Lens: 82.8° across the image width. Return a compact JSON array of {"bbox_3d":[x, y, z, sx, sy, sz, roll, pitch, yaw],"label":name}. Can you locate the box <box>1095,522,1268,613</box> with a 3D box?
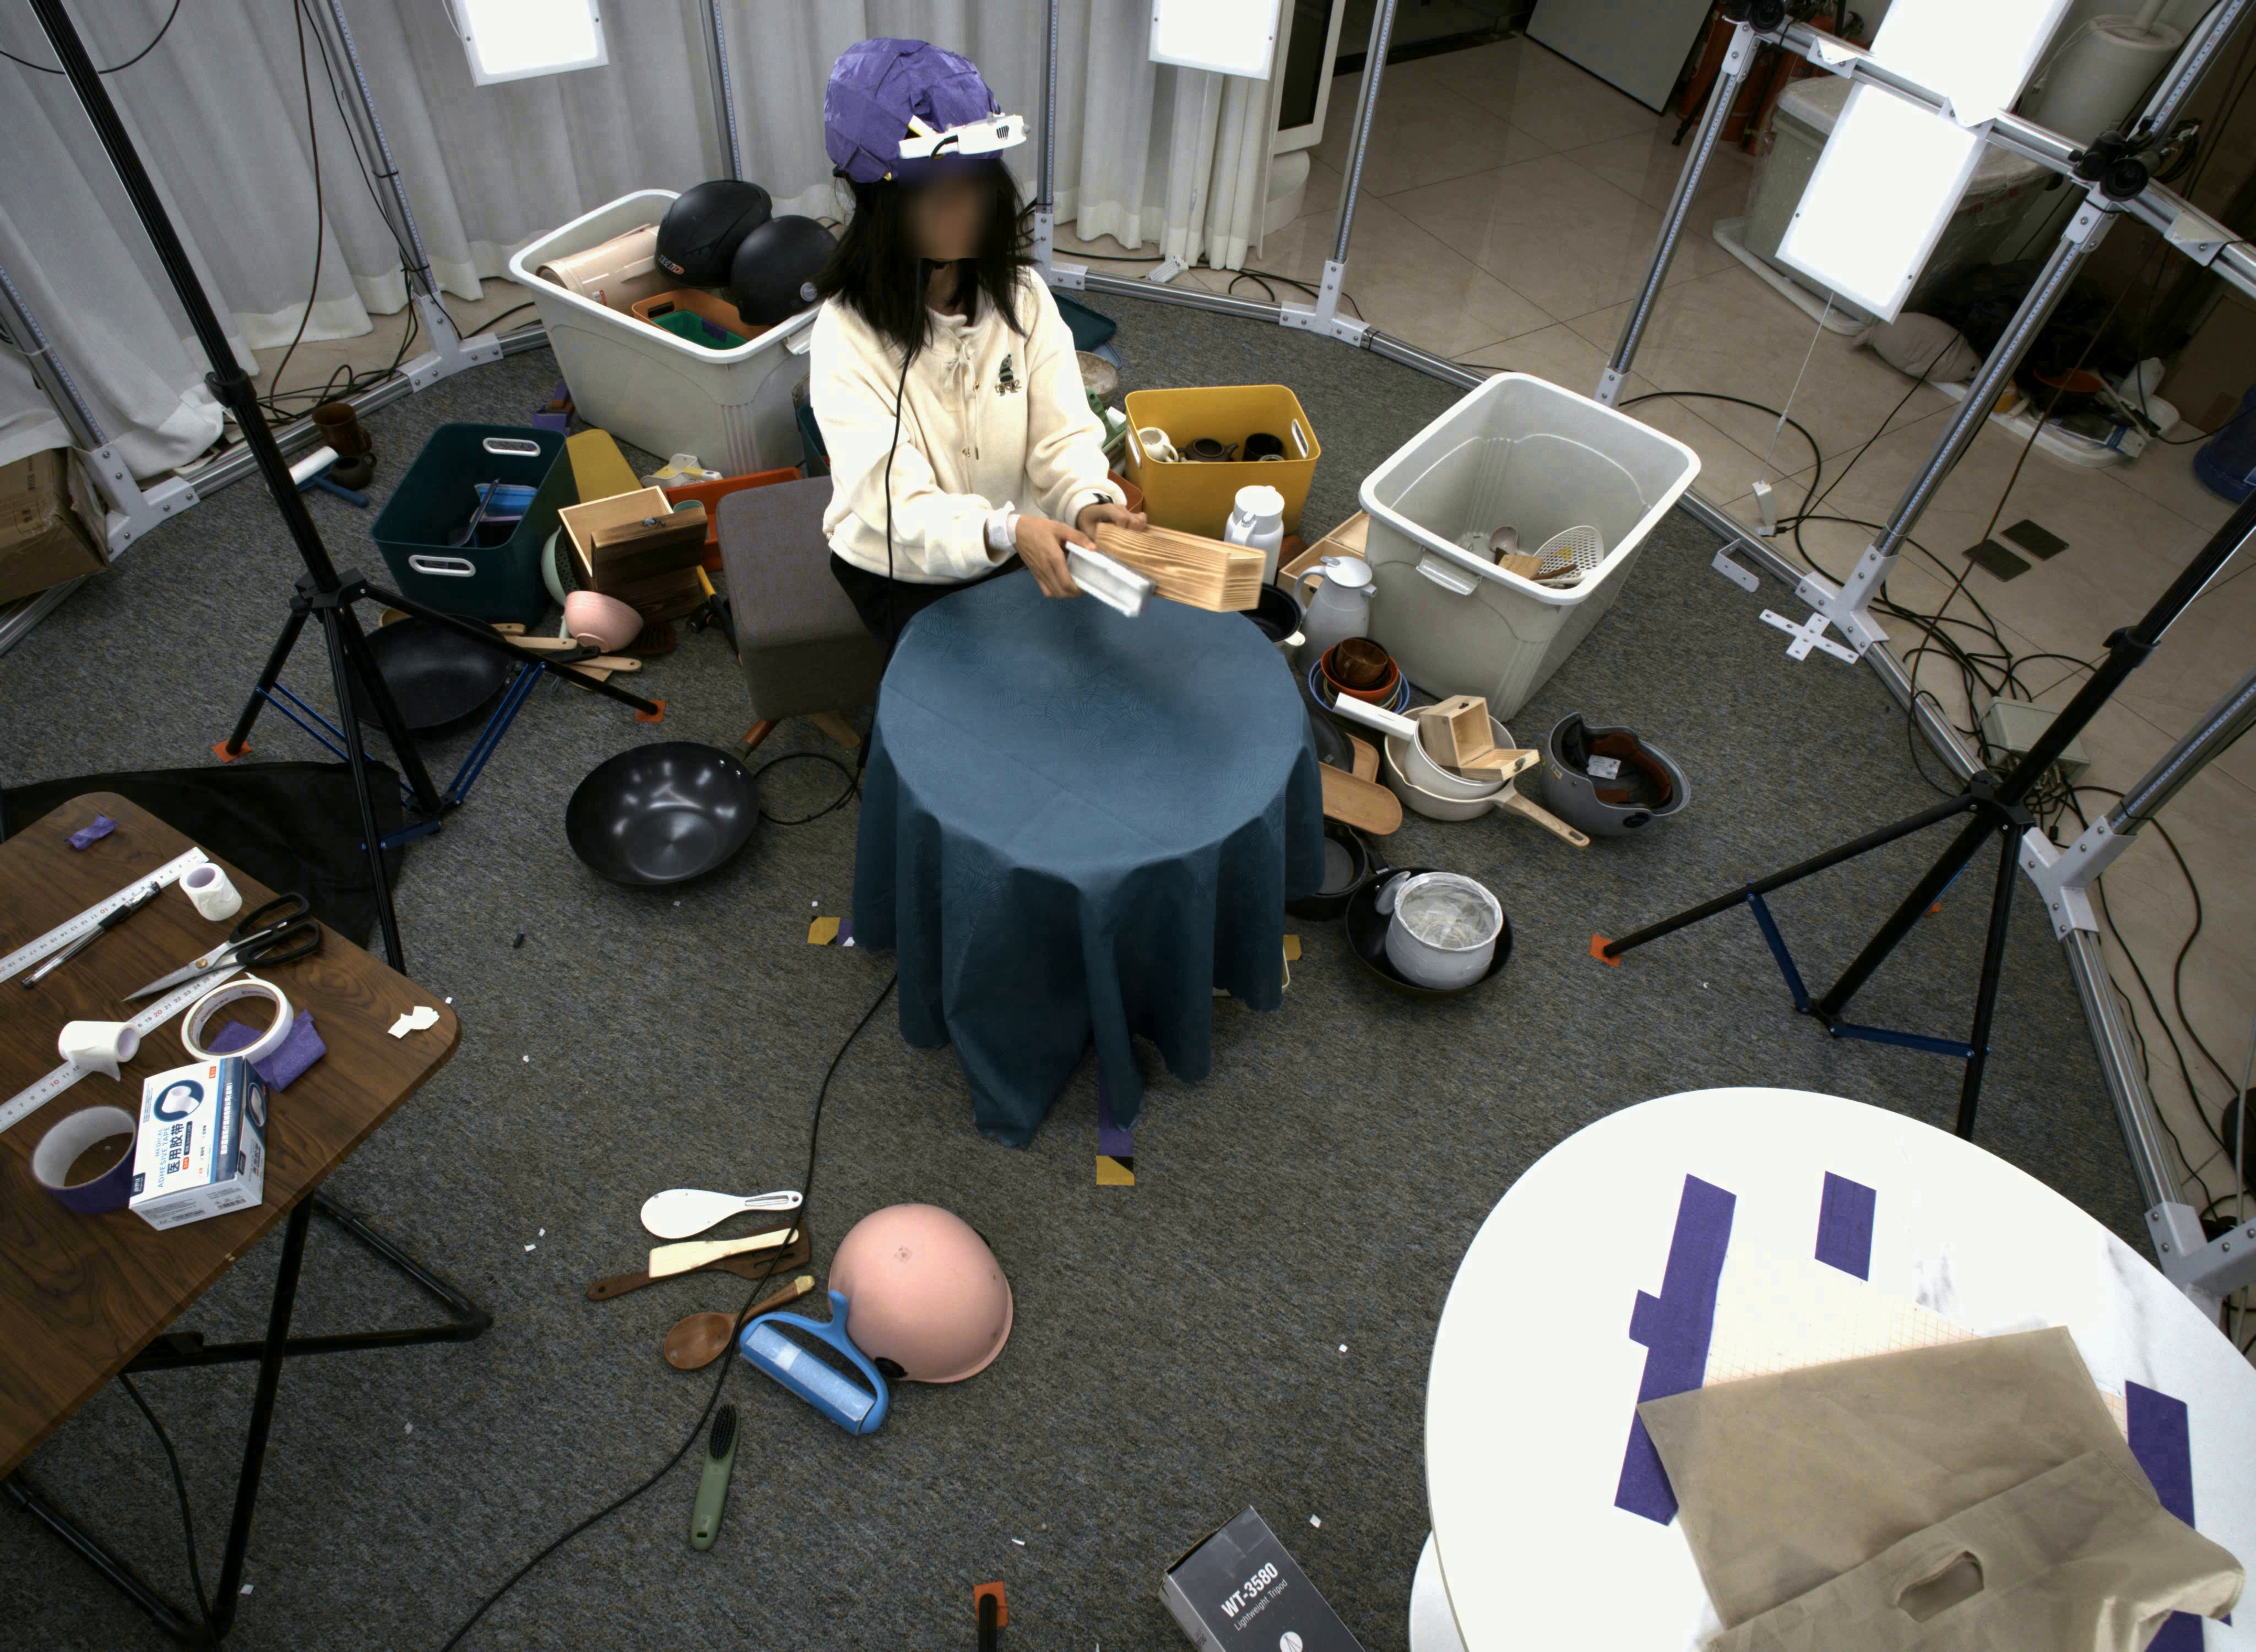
[{"bbox_3d":[0.069,-0.355,1.761,0.213,0.079,0.108,20,21,29],"label":"box"}]

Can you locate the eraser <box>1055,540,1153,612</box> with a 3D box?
[{"bbox_3d":[-0.033,-0.338,1.738,0.136,0.049,0.046,32,29,29],"label":"eraser"}]
